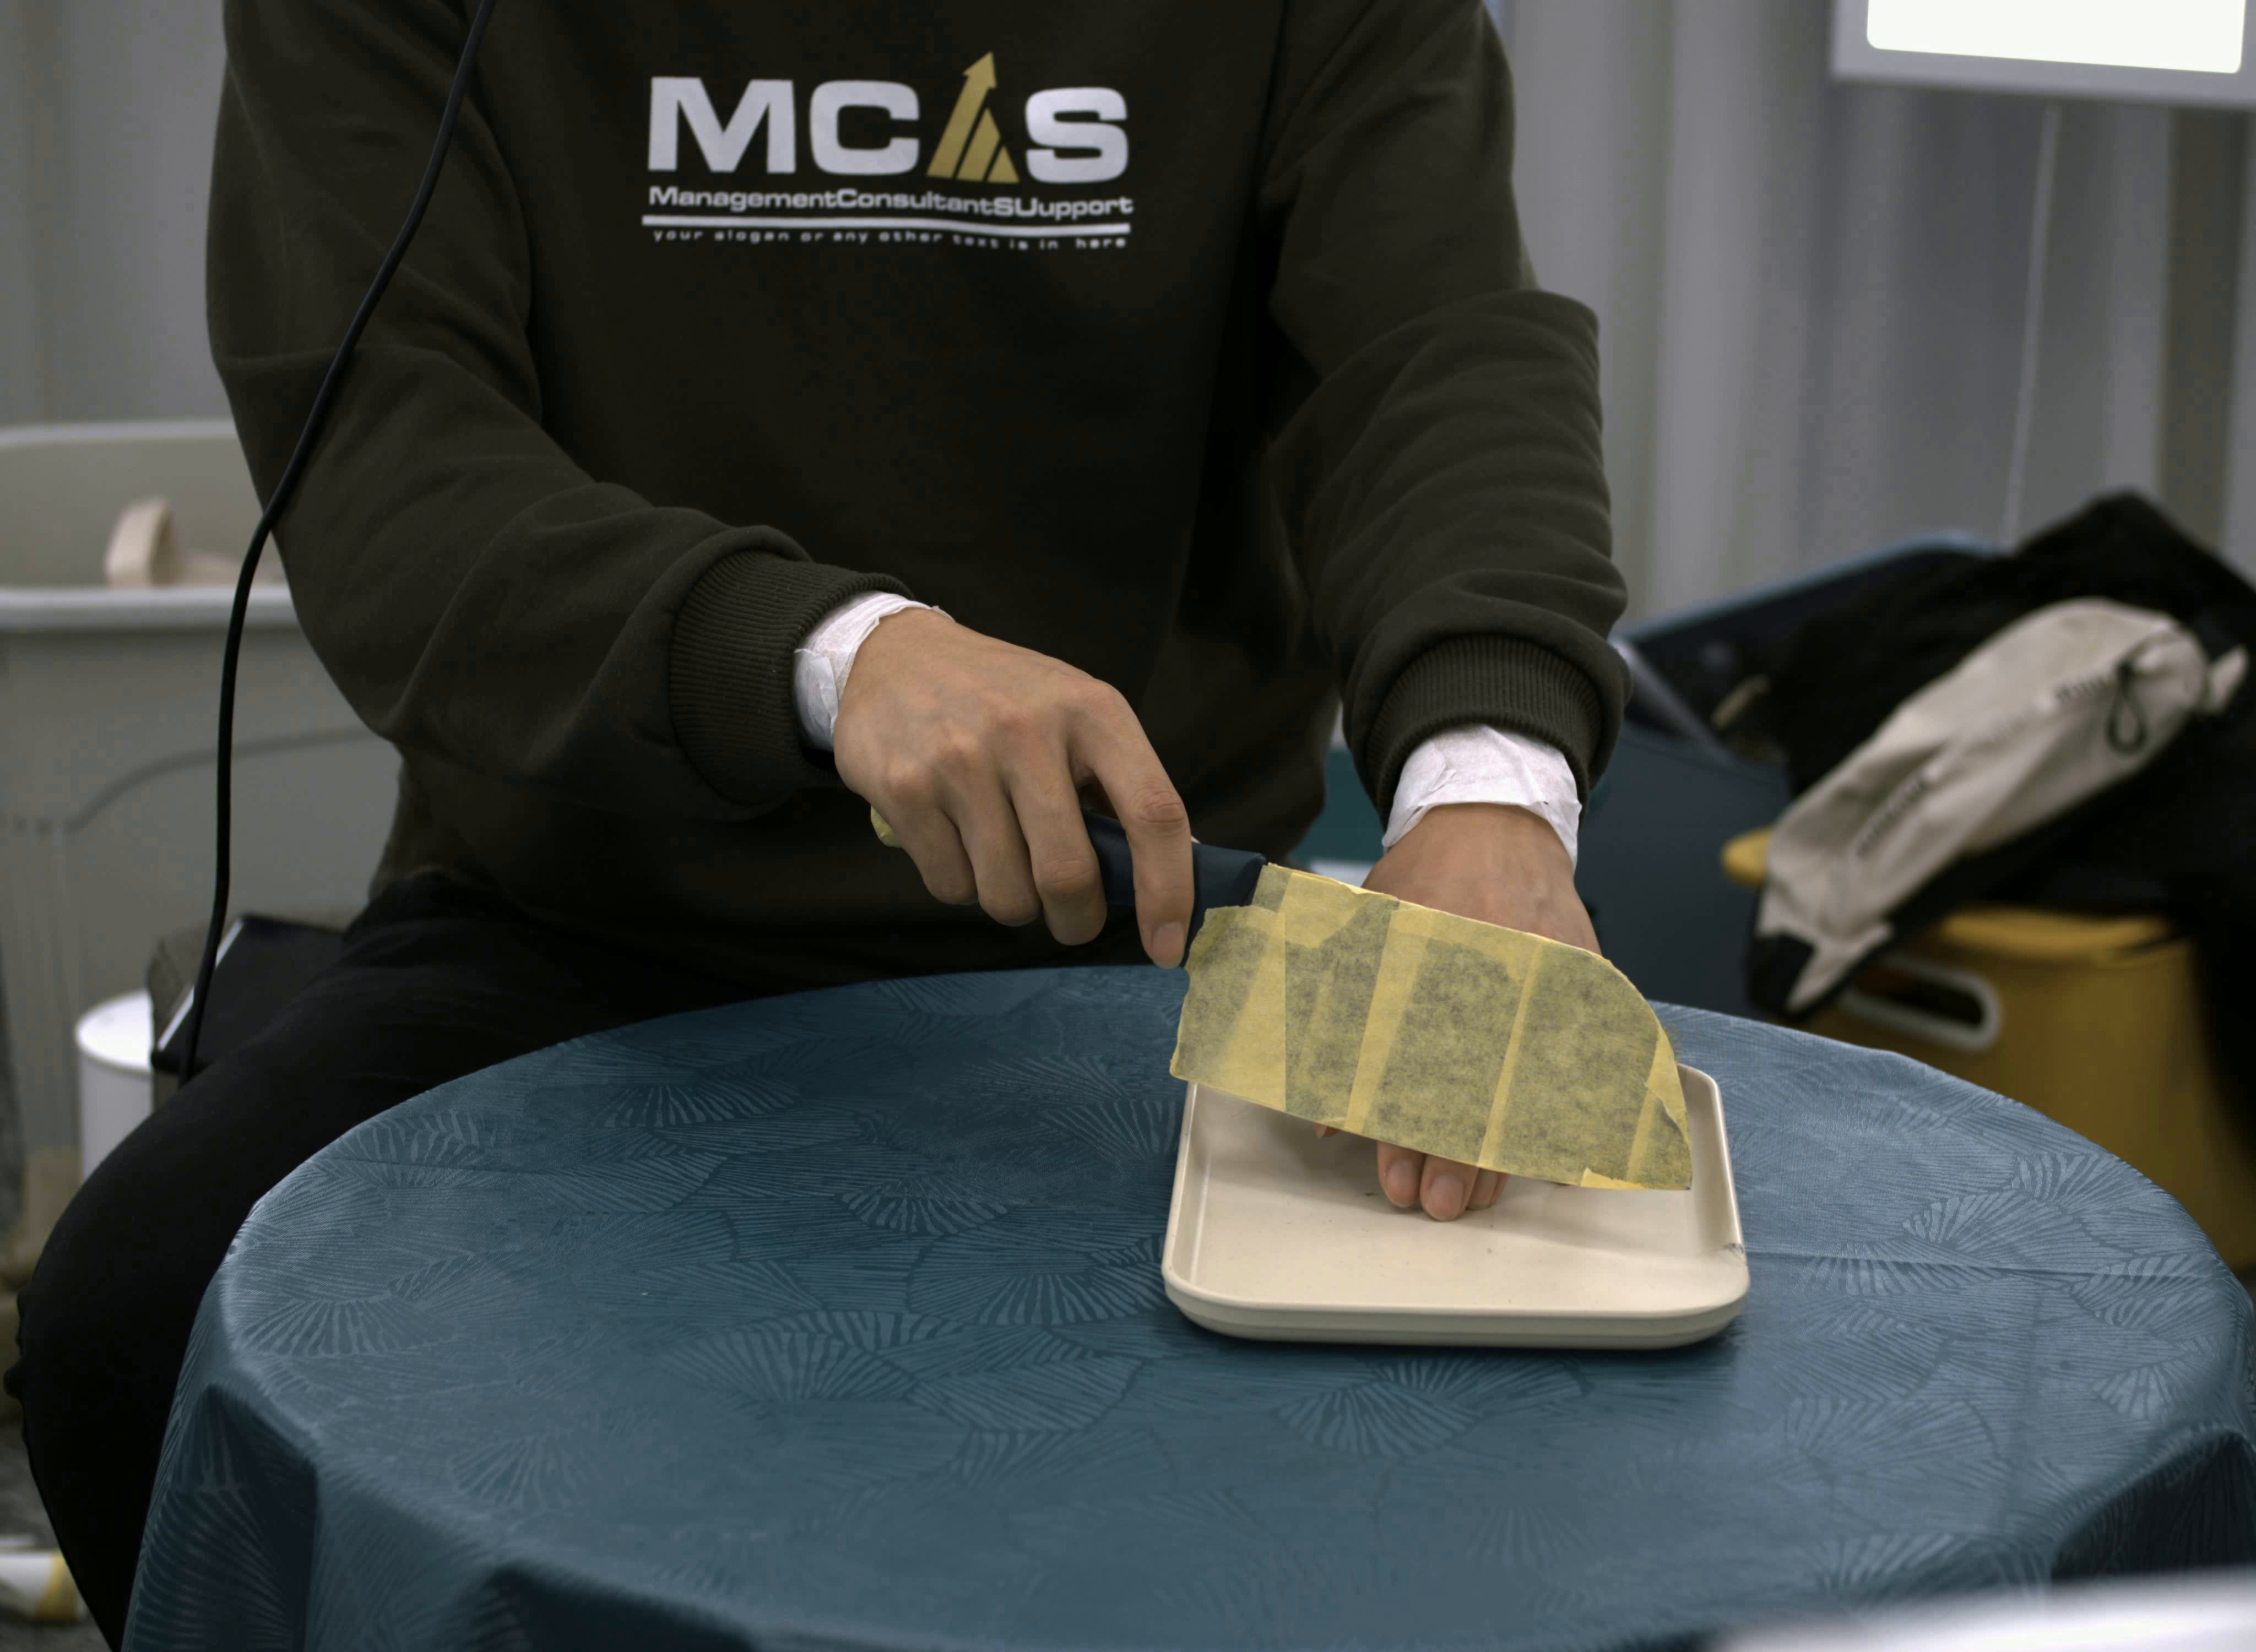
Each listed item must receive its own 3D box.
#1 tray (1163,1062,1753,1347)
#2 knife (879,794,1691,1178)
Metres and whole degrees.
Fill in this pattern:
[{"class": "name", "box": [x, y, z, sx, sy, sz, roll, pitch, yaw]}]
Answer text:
[{"class": "tray", "box": [0.098, 0.112, 1.597, 0.170, 0.017, 0.238, 1, 15, 2]}, {"class": "knife", "box": [0.043, 0.046, 1.614, 0.286, 0.081, 0.027, 18, 2, 25]}]
